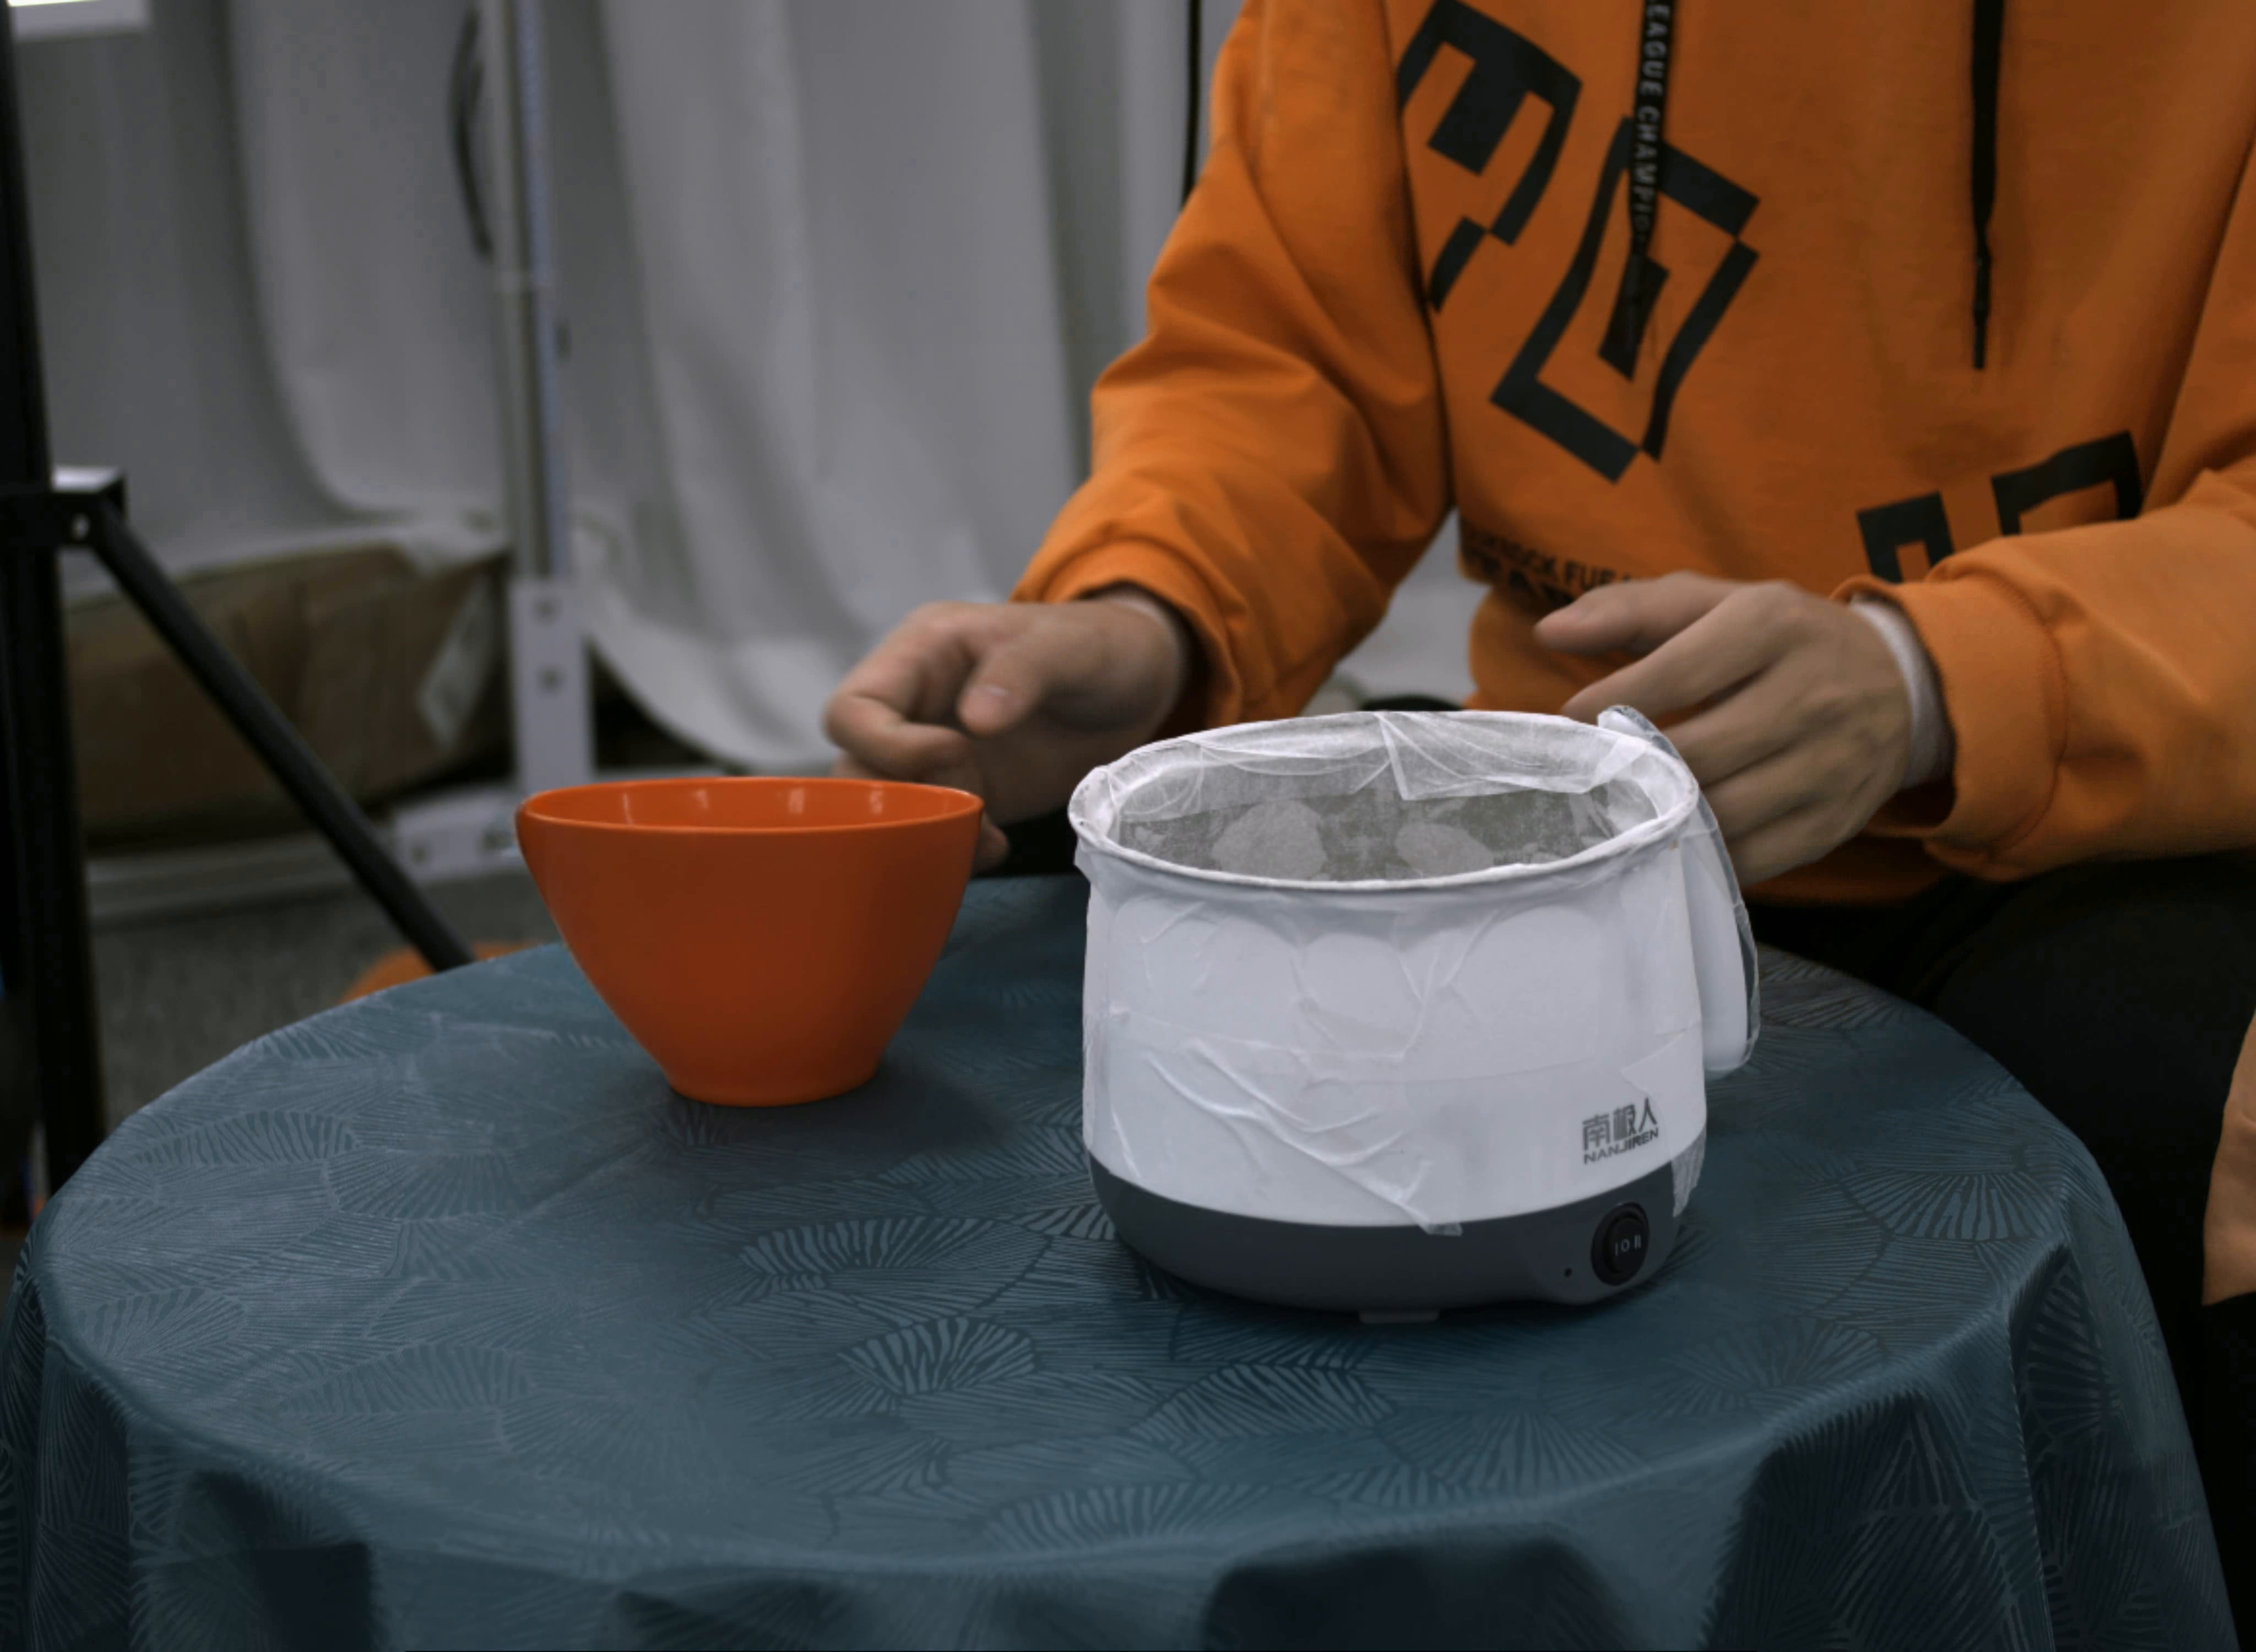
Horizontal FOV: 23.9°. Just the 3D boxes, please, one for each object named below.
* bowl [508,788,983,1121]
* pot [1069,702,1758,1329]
[{"bbox_3d":[-0.117,0.036,1.659,0.147,0.105,0.149,-2,14,-1],"label":"bowl"},{"bbox_3d":[0.094,0.046,1.510,0.228,0.136,0.183,-17,22,-41],"label":"pot"}]
